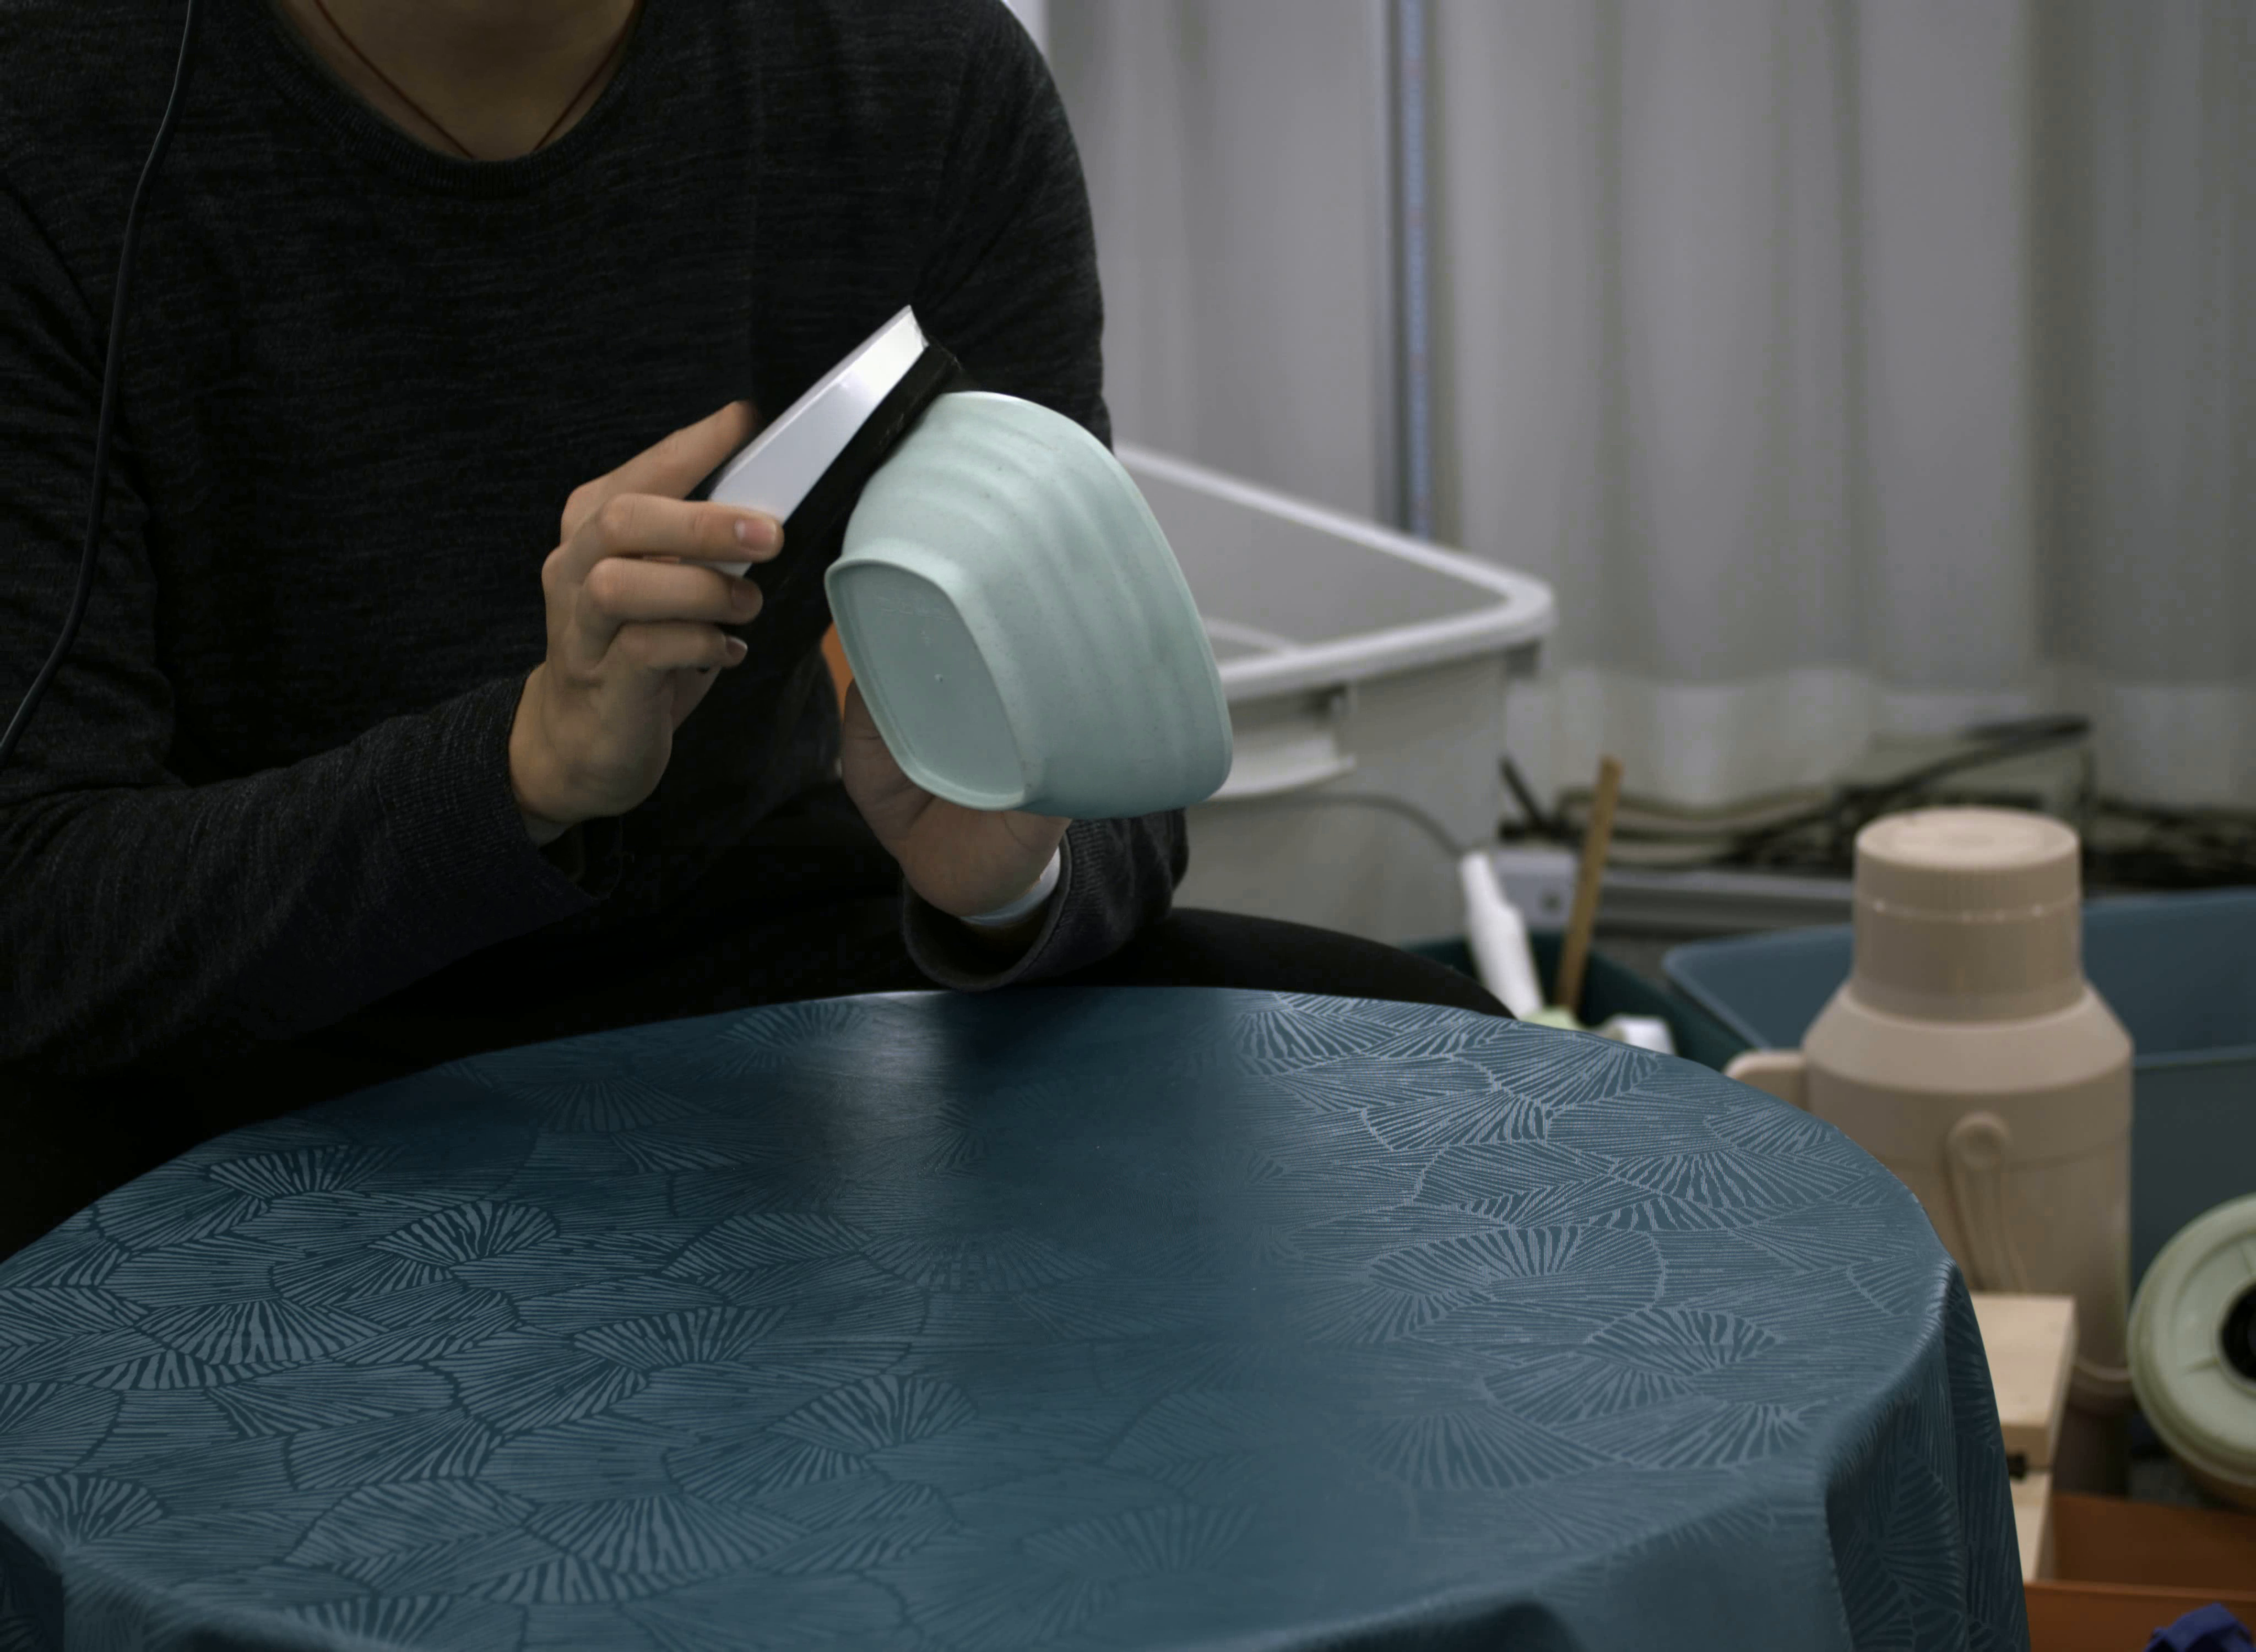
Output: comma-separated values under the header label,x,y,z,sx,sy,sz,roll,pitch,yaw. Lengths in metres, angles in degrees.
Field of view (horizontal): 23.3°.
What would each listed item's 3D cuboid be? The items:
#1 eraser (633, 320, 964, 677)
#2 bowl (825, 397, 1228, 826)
label,x,y,z,sx,sy,sz,roll,pitch,yaw
eraser,-0.103,-0.102,1.689,0.034,0.130,0.064,42,33,-1
bowl,-0.039,-0.054,1.636,0.059,0.150,0.152,-30,26,-26
